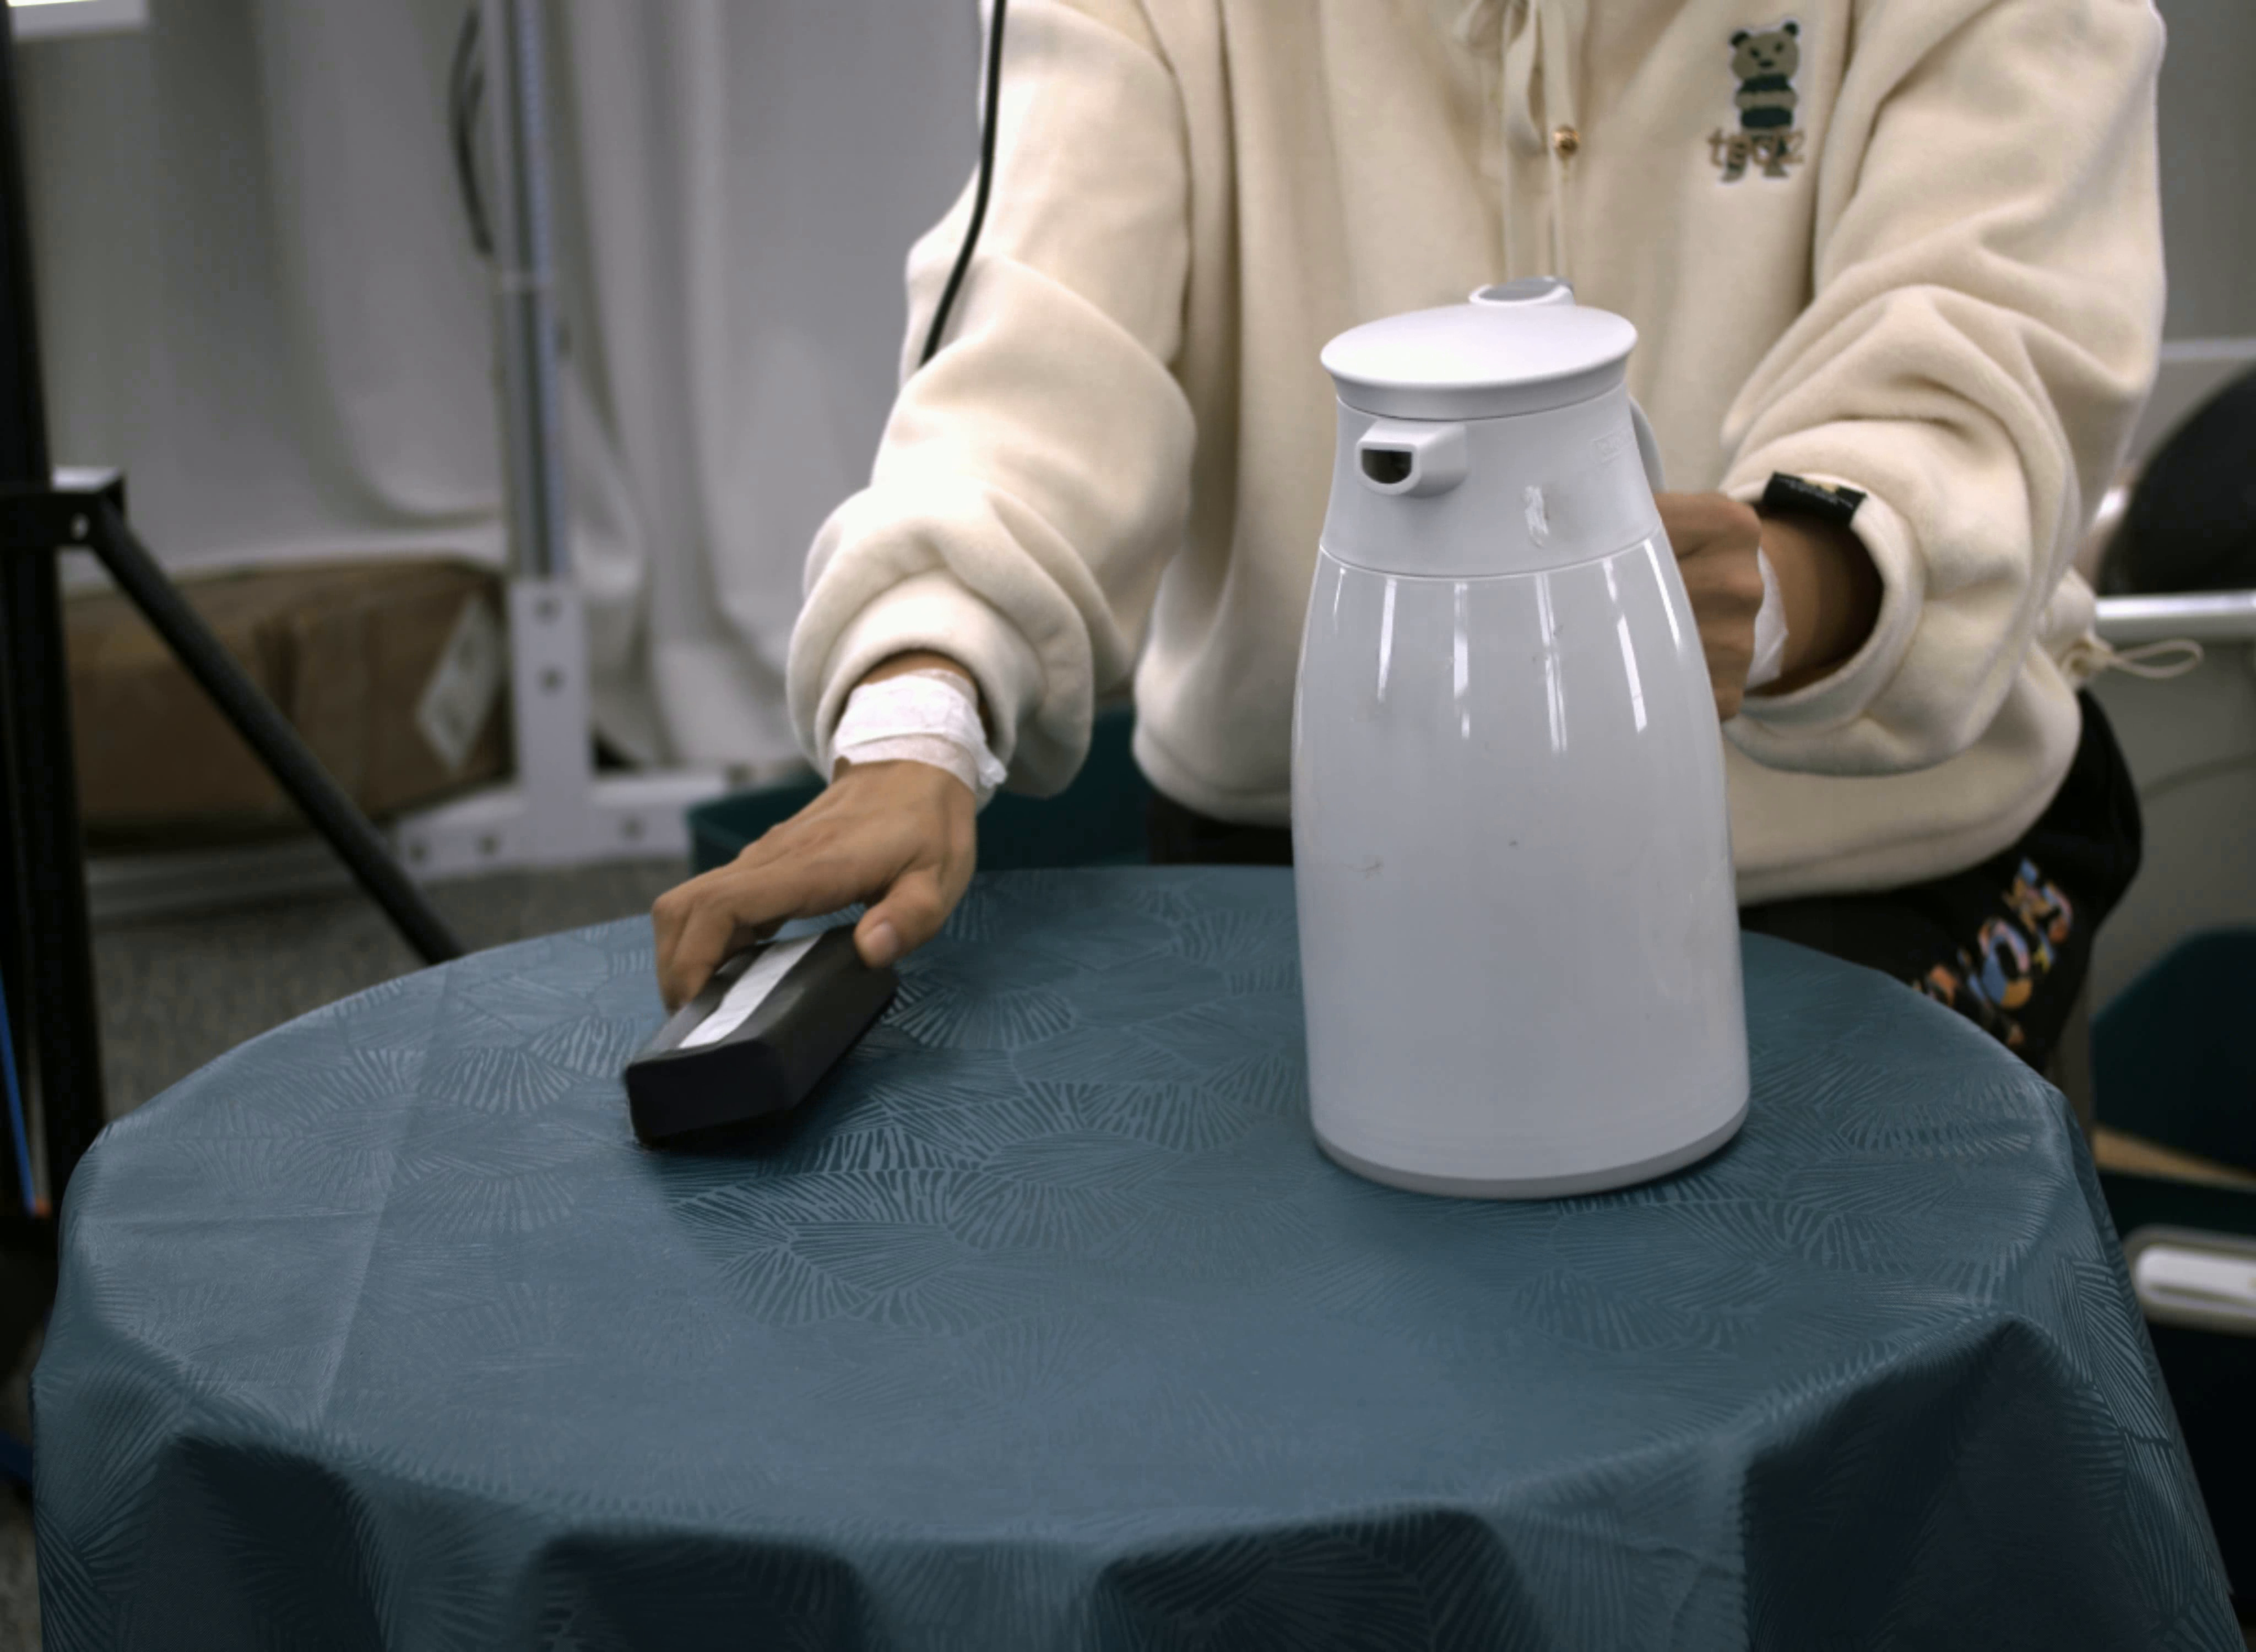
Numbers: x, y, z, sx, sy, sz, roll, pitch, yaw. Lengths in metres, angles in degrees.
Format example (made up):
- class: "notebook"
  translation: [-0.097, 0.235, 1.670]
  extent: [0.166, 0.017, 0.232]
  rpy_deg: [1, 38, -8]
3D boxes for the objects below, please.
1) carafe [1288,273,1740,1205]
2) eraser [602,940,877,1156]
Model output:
- class: "carafe"
  translation: [0.118, -0.034, 1.569]
  extent: [0.135, 0.248, 0.165]
  rpy_deg: [5, 19, 28]
- class: "eraser"
  translation: [-0.118, 0.068, 1.651]
  extent: [0.054, 0.030, 0.124]
  rpy_deg: [-8, 13, 15]
